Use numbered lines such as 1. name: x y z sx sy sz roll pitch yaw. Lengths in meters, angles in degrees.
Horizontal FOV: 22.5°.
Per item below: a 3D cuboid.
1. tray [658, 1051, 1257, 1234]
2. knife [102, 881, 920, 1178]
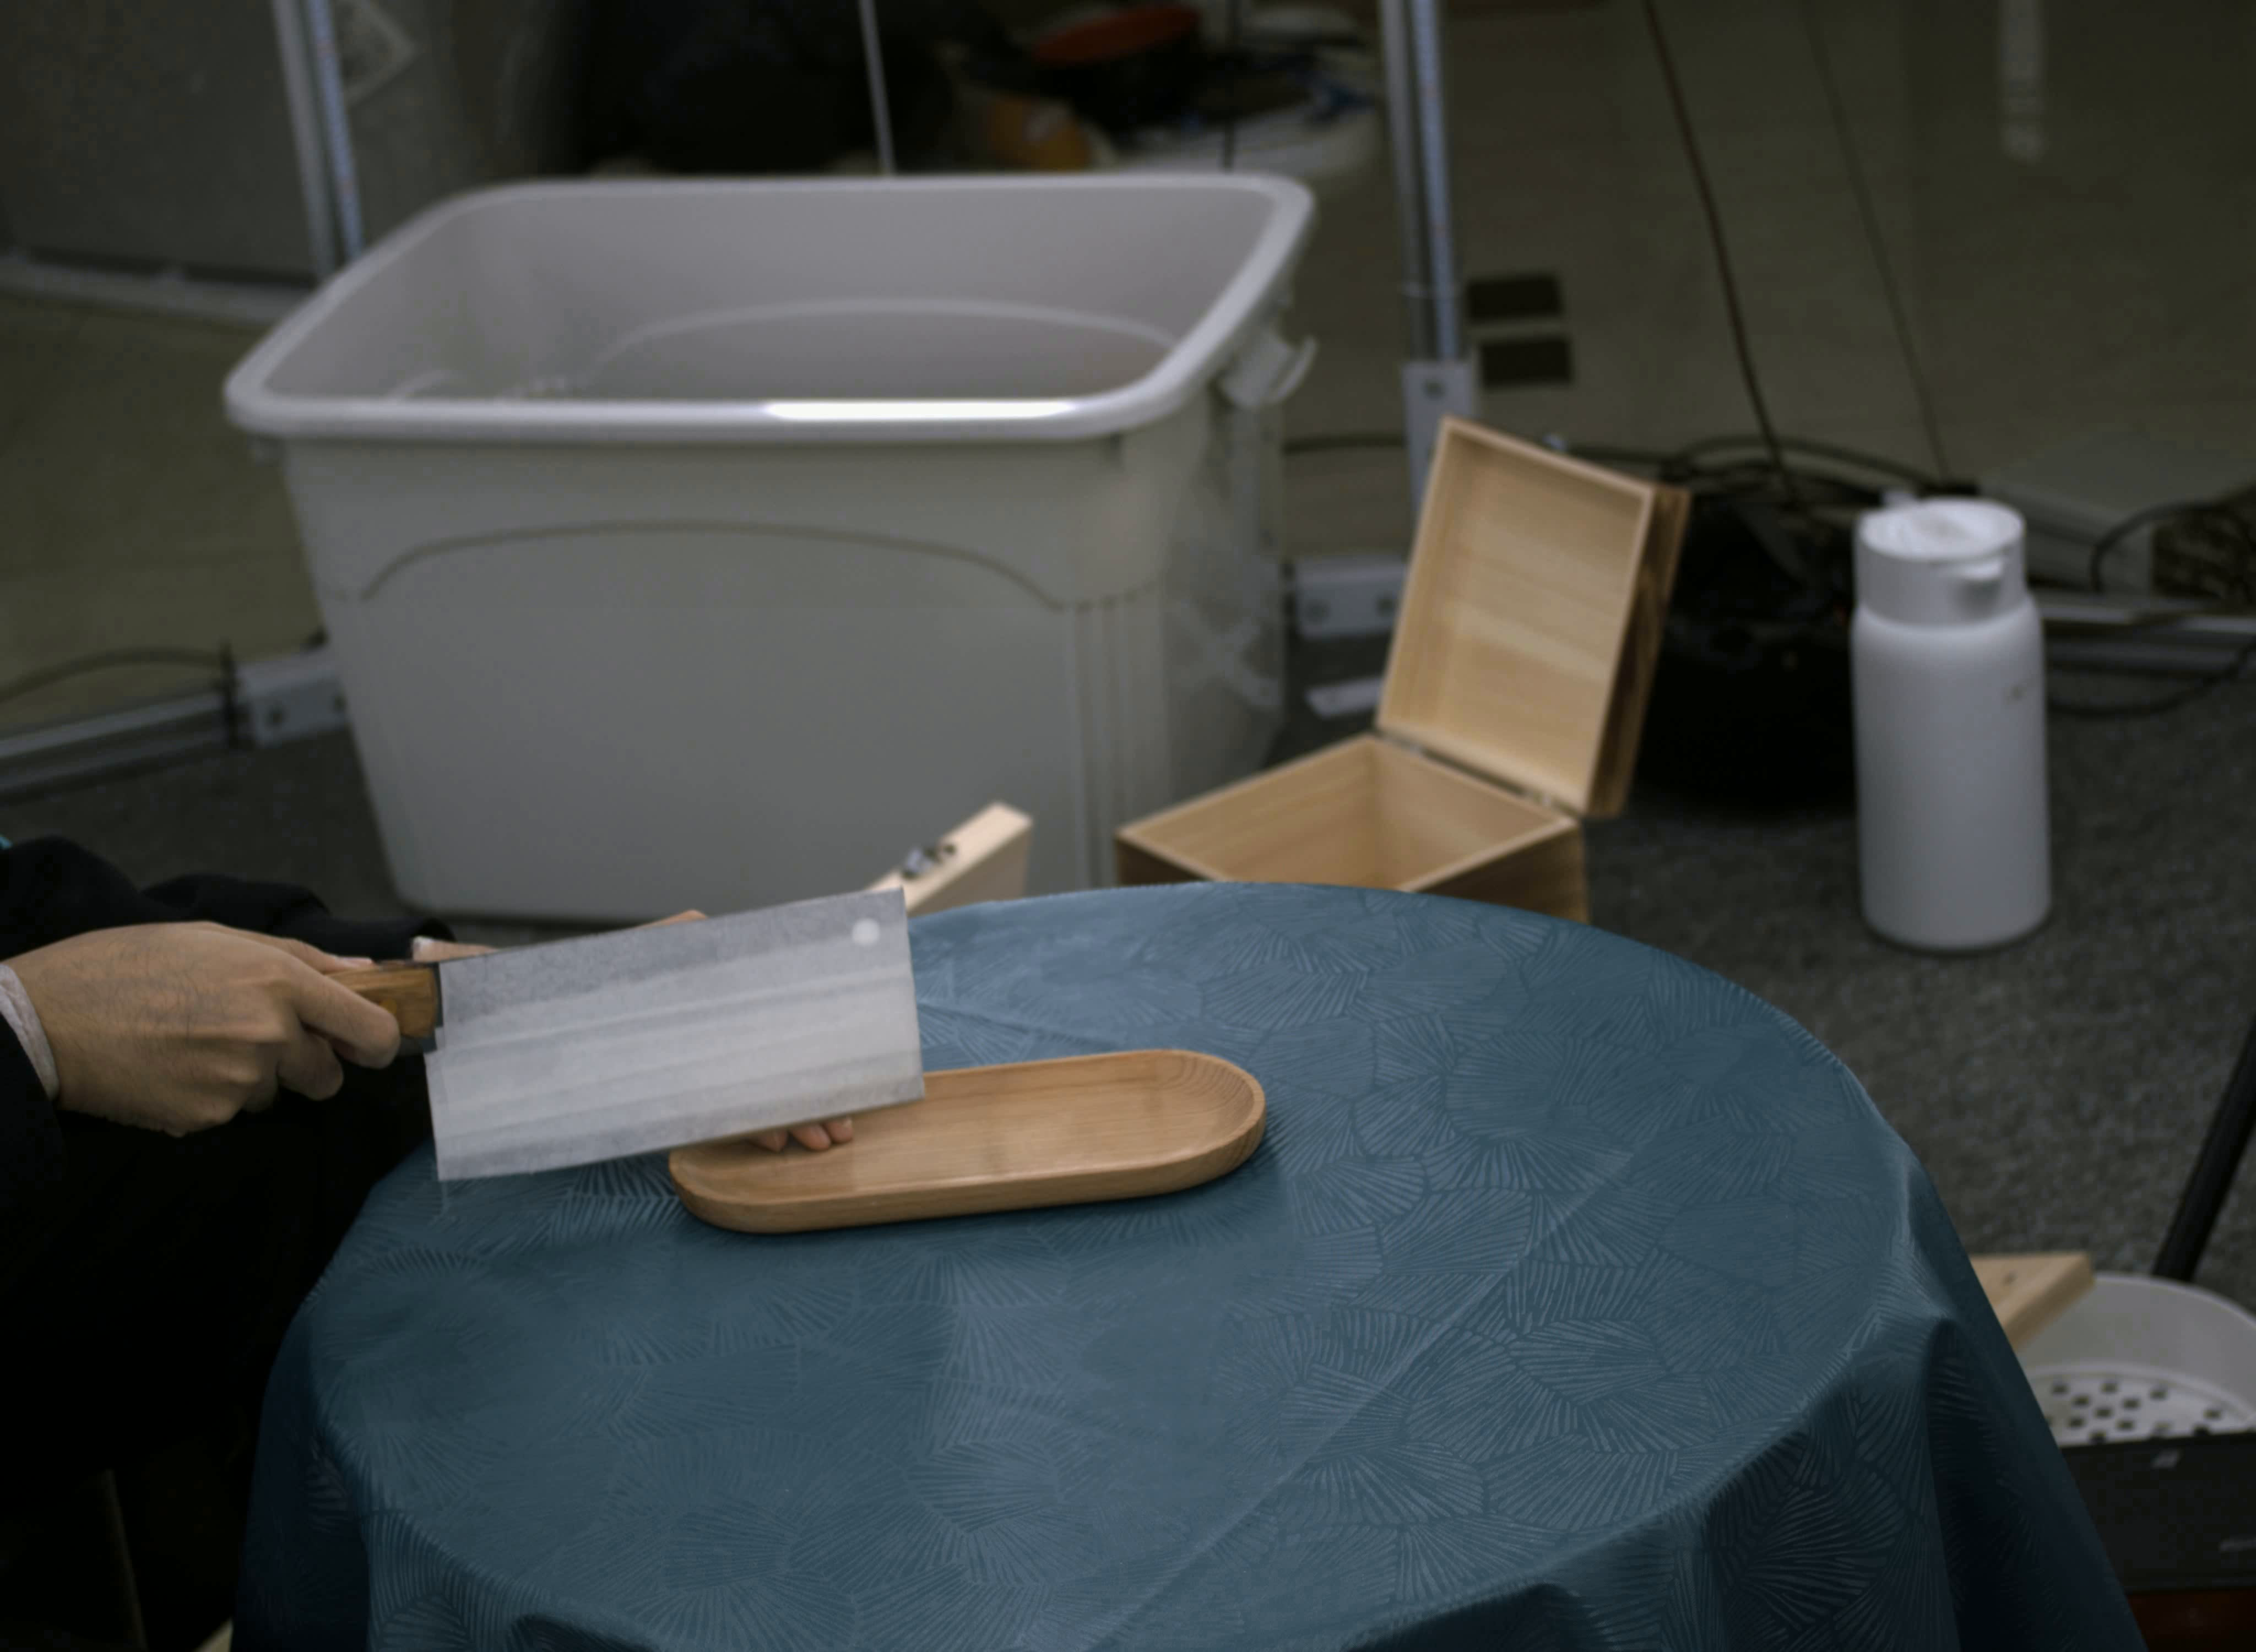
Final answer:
1. tray: -0.065 0.122 2.178 0.231 0.020 0.100 -7 23 3
2. knife: -0.229 0.085 2.139 0.305 0.094 0.021 -9 23 -10
